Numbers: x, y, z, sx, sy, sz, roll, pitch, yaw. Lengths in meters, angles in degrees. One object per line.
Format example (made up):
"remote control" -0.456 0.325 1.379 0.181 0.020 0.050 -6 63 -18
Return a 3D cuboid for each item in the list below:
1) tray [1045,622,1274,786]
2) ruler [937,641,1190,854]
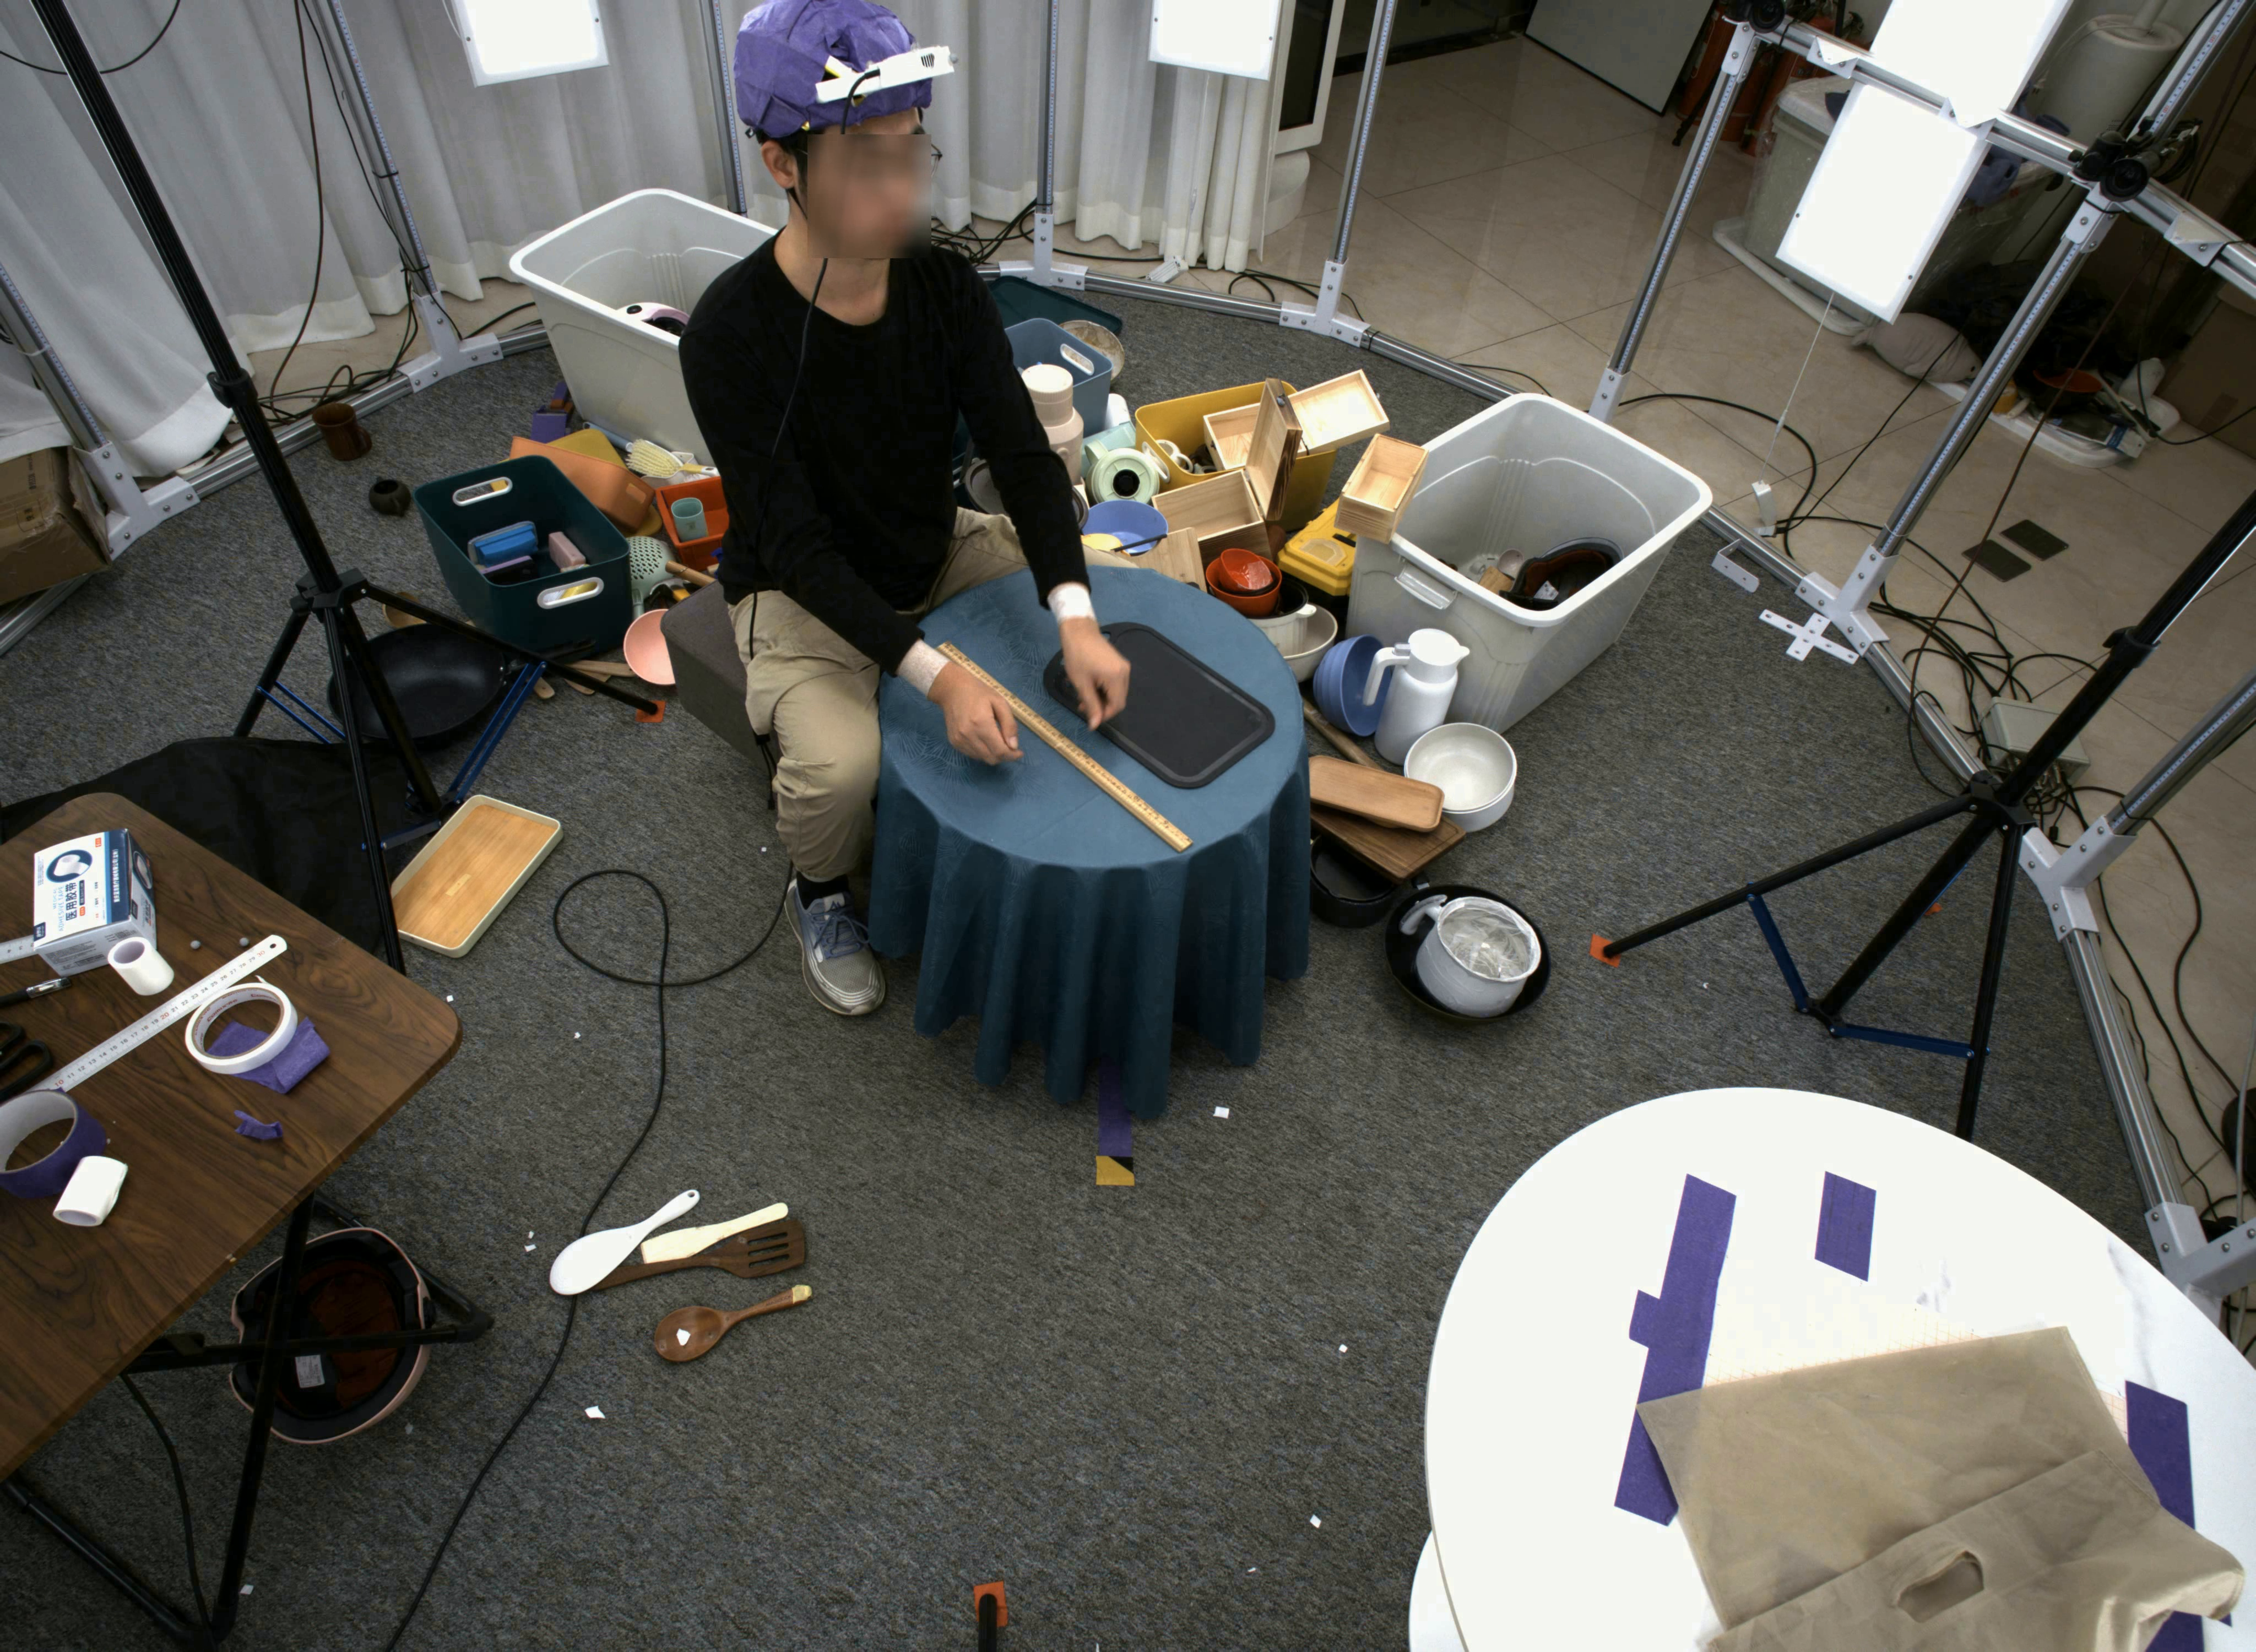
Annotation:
"tray" 0.037 -0.185 1.828 0.213 0.009 0.330 -35 60 -29
"ruler" -0.097 -0.118 1.762 0.027 0.006 0.508 -32 58 -30
